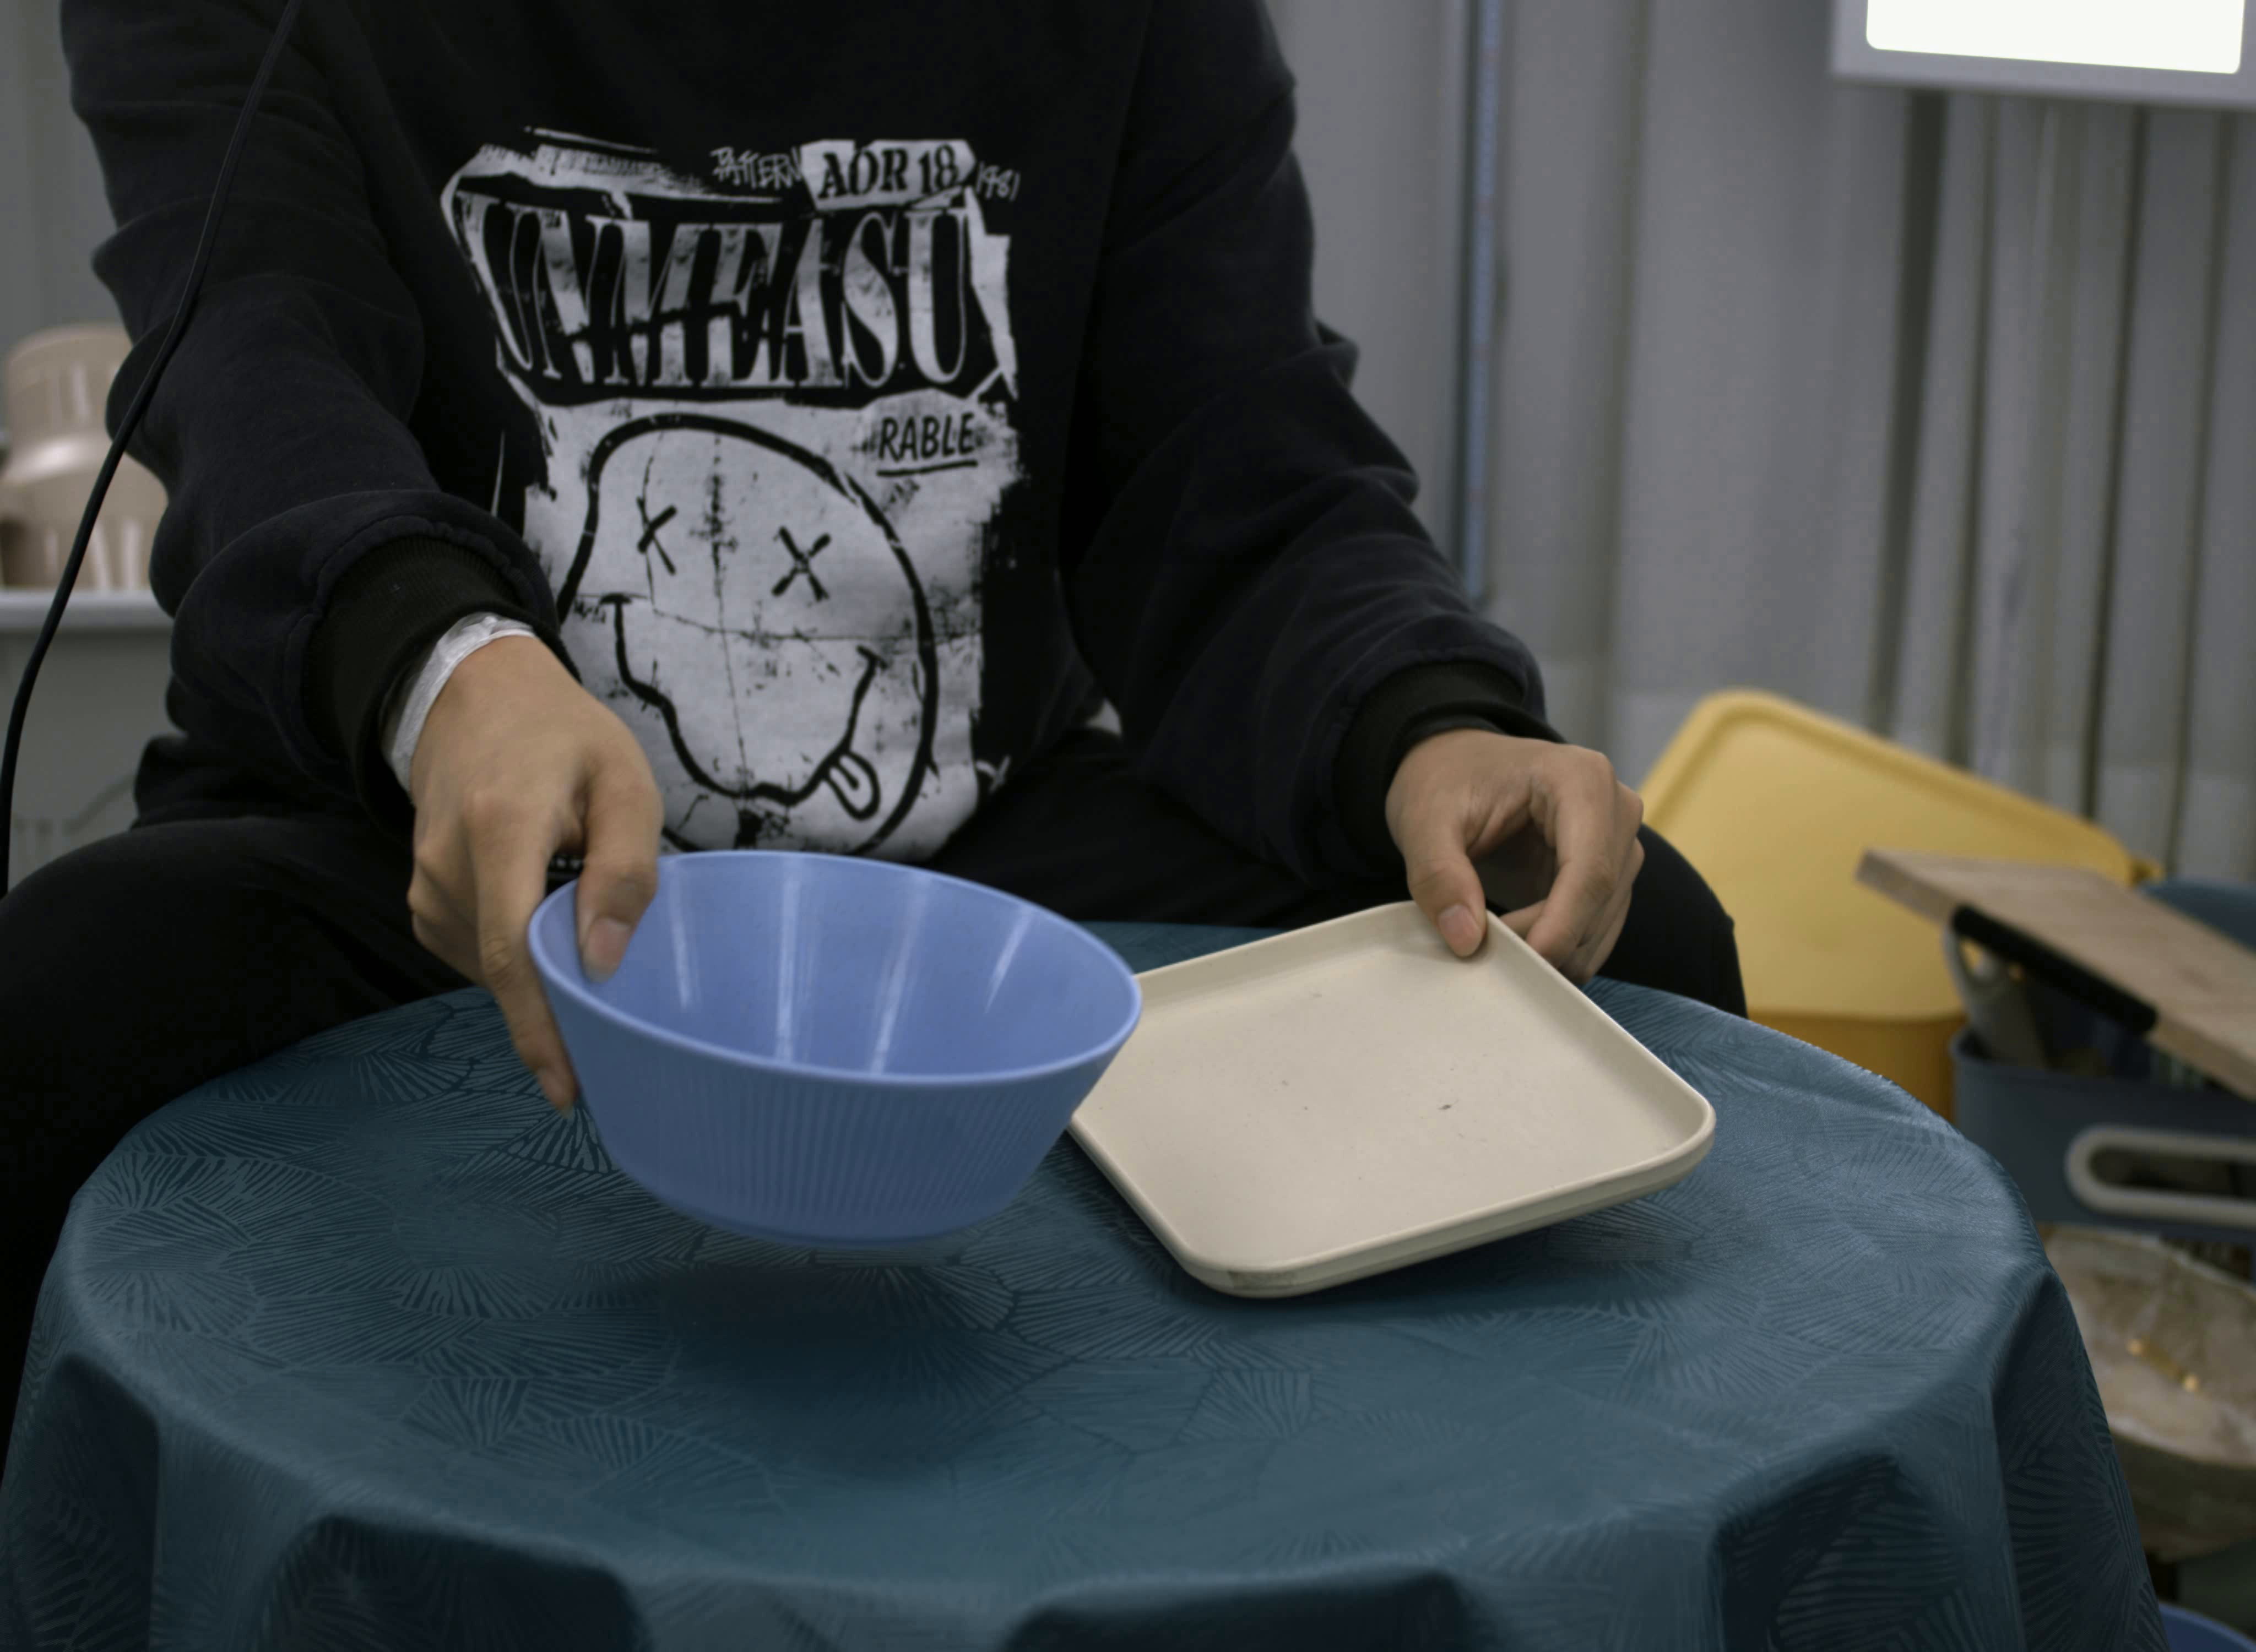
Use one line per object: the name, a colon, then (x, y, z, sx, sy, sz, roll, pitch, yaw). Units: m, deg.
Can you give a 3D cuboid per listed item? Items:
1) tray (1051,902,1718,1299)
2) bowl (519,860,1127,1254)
tray: (0.069, 0.084, 1.641, 0.171, 0.017, 0.237, -14, 22, -14)
bowl: (-0.091, 0.070, 1.511, 0.176, 0.071, 0.175, 9, 19, -3)
